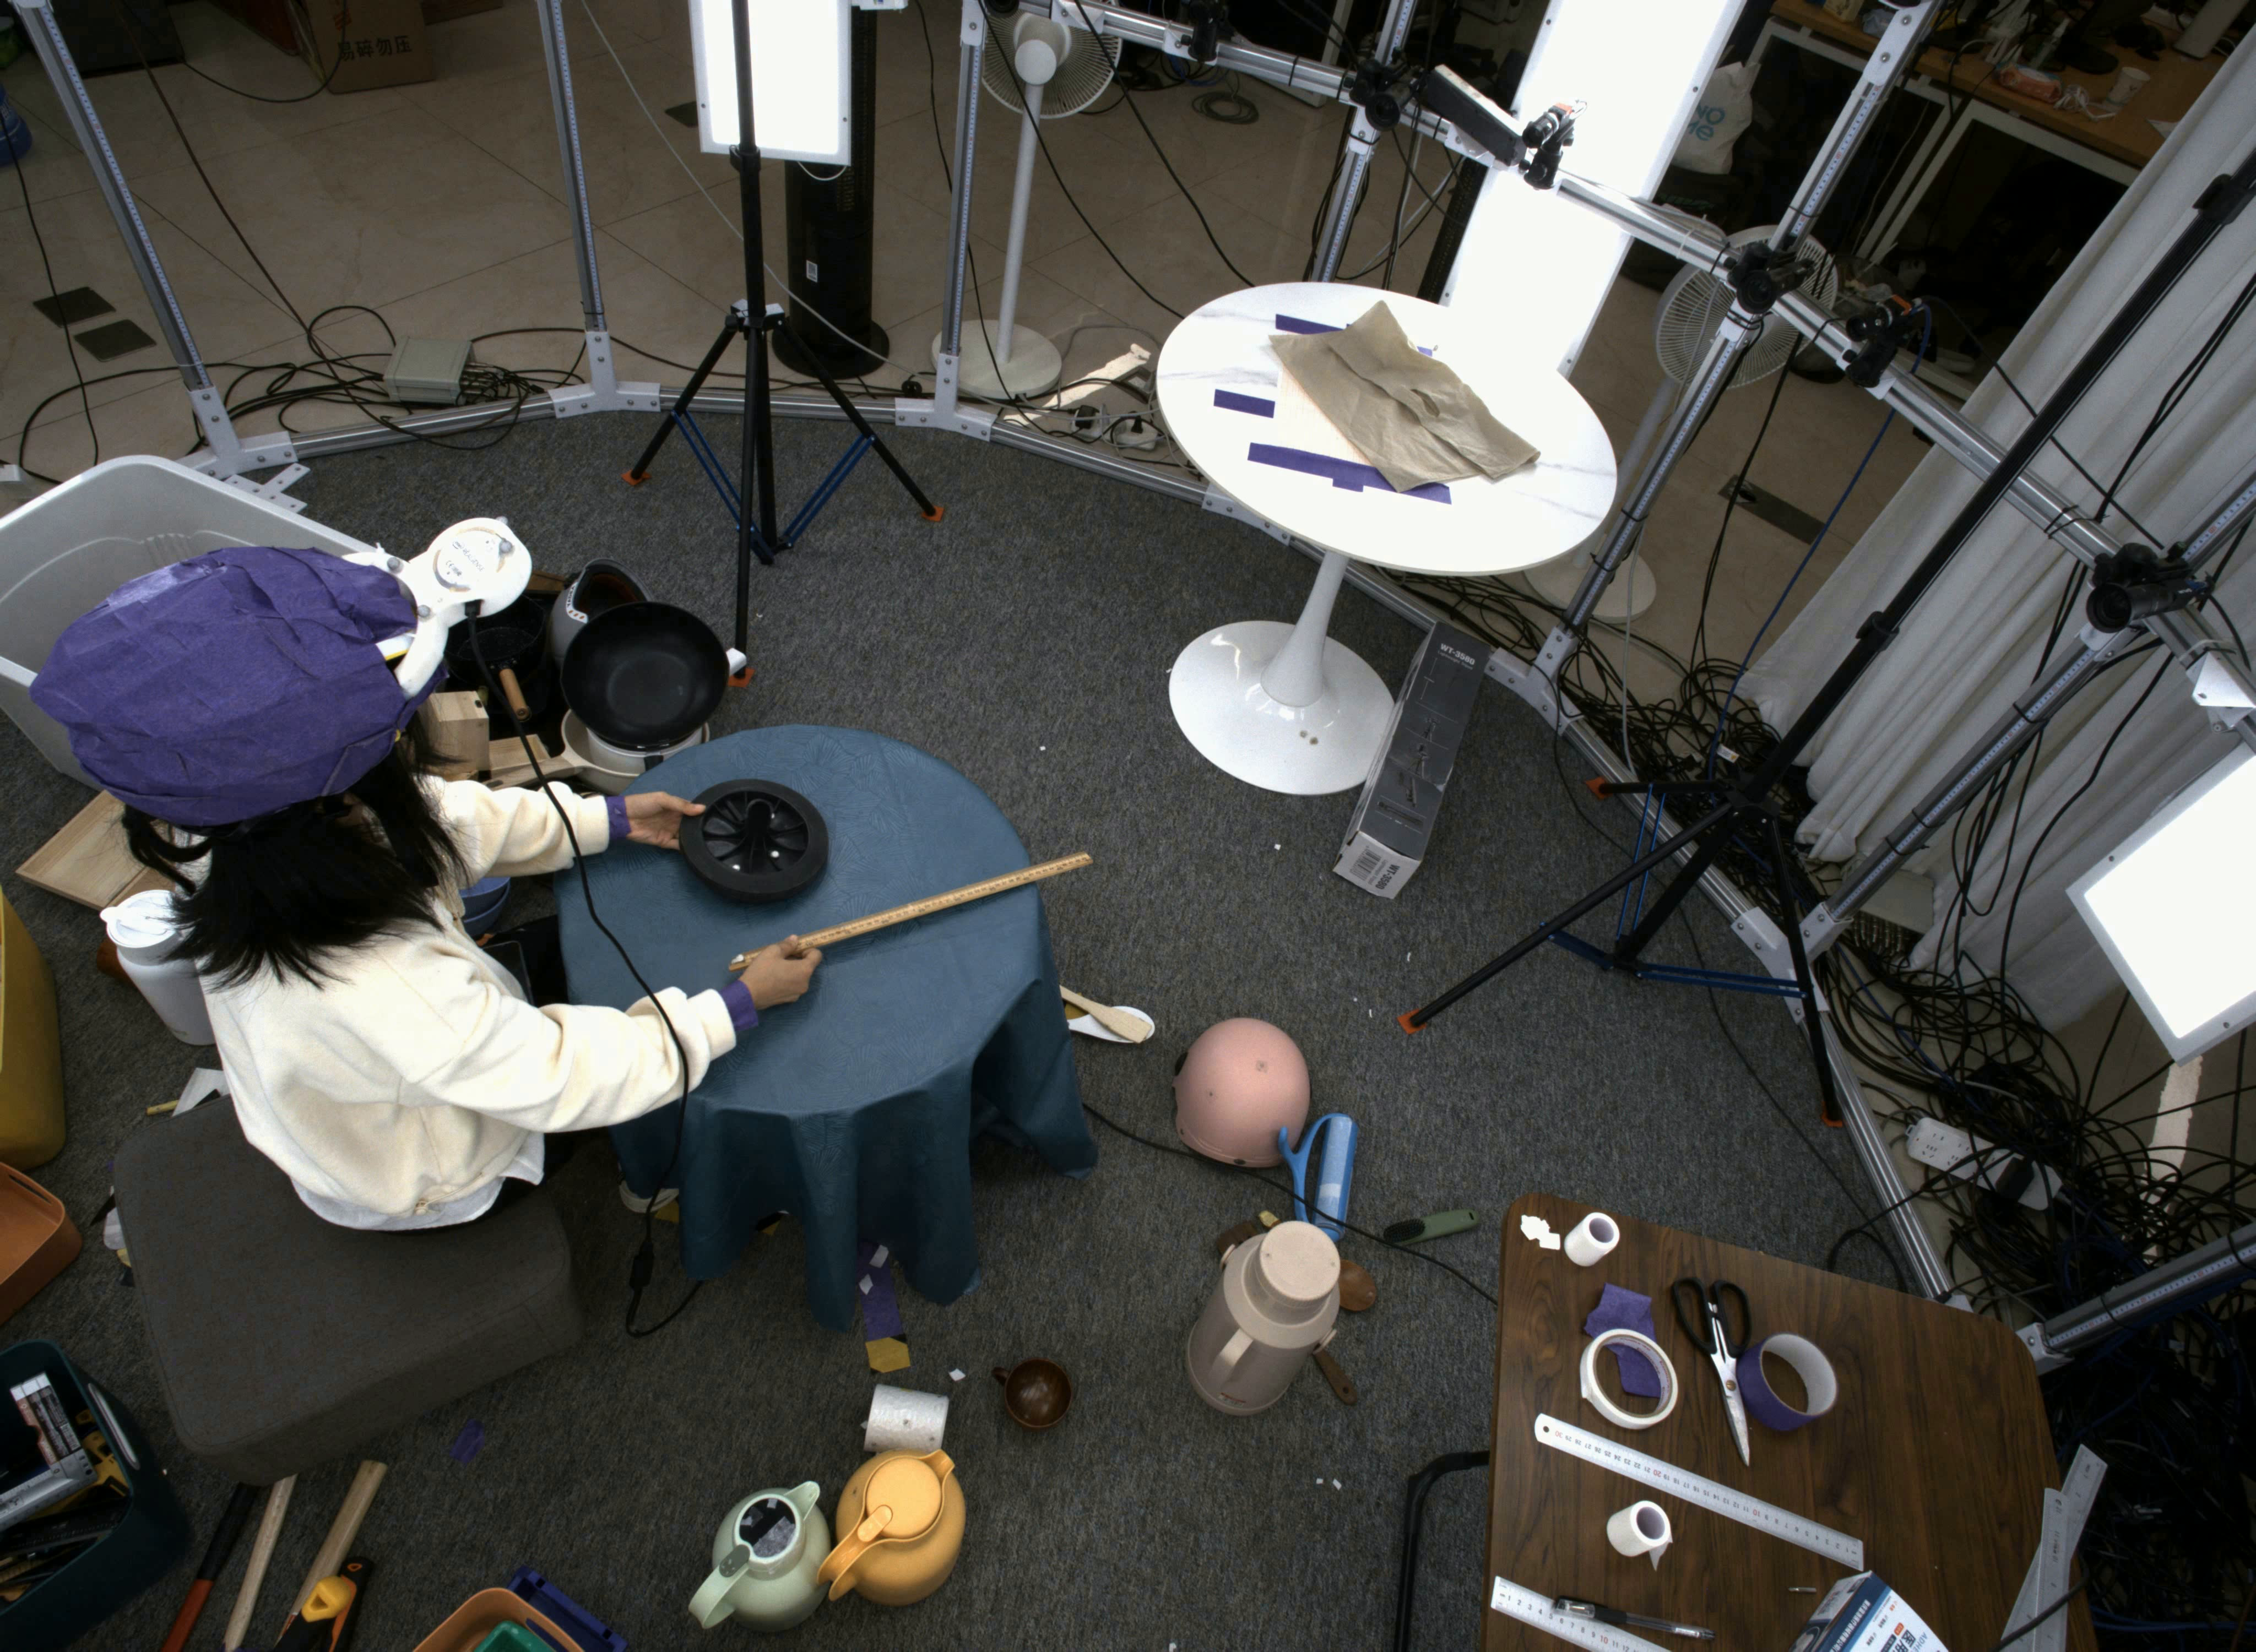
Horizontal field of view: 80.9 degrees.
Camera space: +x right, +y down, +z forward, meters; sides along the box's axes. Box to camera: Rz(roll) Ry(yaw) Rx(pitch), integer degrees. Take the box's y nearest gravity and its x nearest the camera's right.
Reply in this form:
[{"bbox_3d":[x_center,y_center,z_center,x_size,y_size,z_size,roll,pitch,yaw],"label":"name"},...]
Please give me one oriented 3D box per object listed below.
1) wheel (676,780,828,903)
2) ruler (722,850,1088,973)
[{"bbox_3d":[-0.475,0.002,1.642,0.188,0.080,0.186,31,46,1],"label":"wheel"},{"bbox_3d":[-0.269,0.103,1.662,0.504,0.006,0.026,-16,43,-29],"label":"ruler"}]
